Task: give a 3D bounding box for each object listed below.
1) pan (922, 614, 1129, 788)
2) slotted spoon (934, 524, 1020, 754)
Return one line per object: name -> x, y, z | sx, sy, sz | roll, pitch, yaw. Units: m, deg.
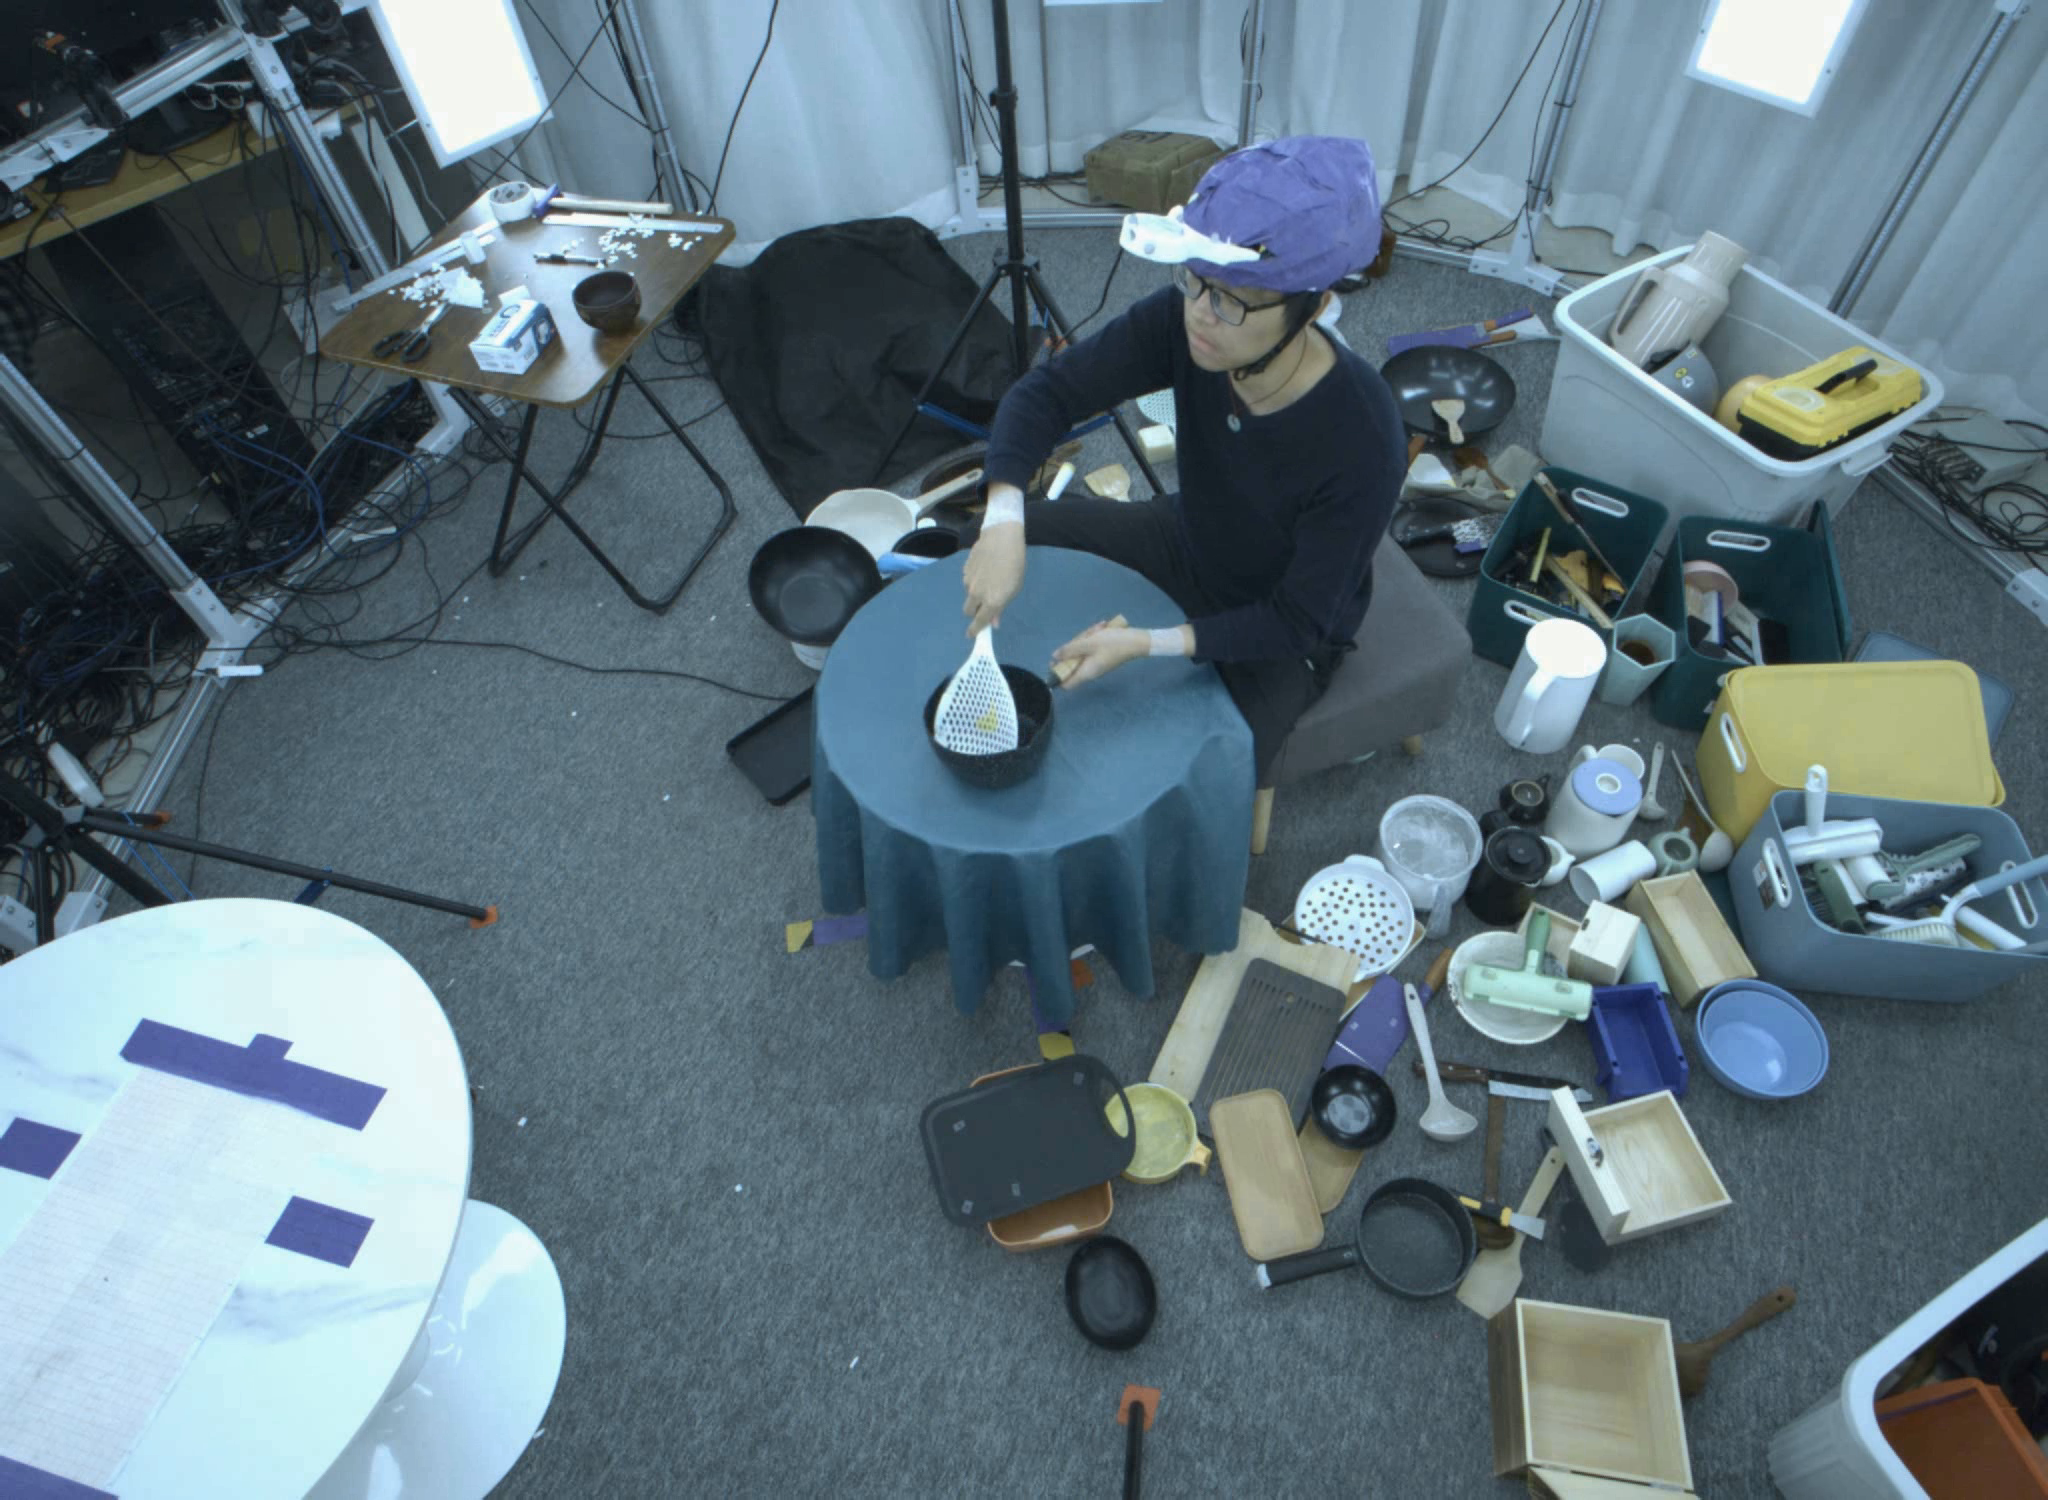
pan -> 0.015, -0.077, 1.767 | 0.345, 0.110, 0.203 | -33, 51, -20
slotted spoon -> -0.056, -0.137, 1.703 | 0.134, 0.350, 0.051 | 11, 23, 22
